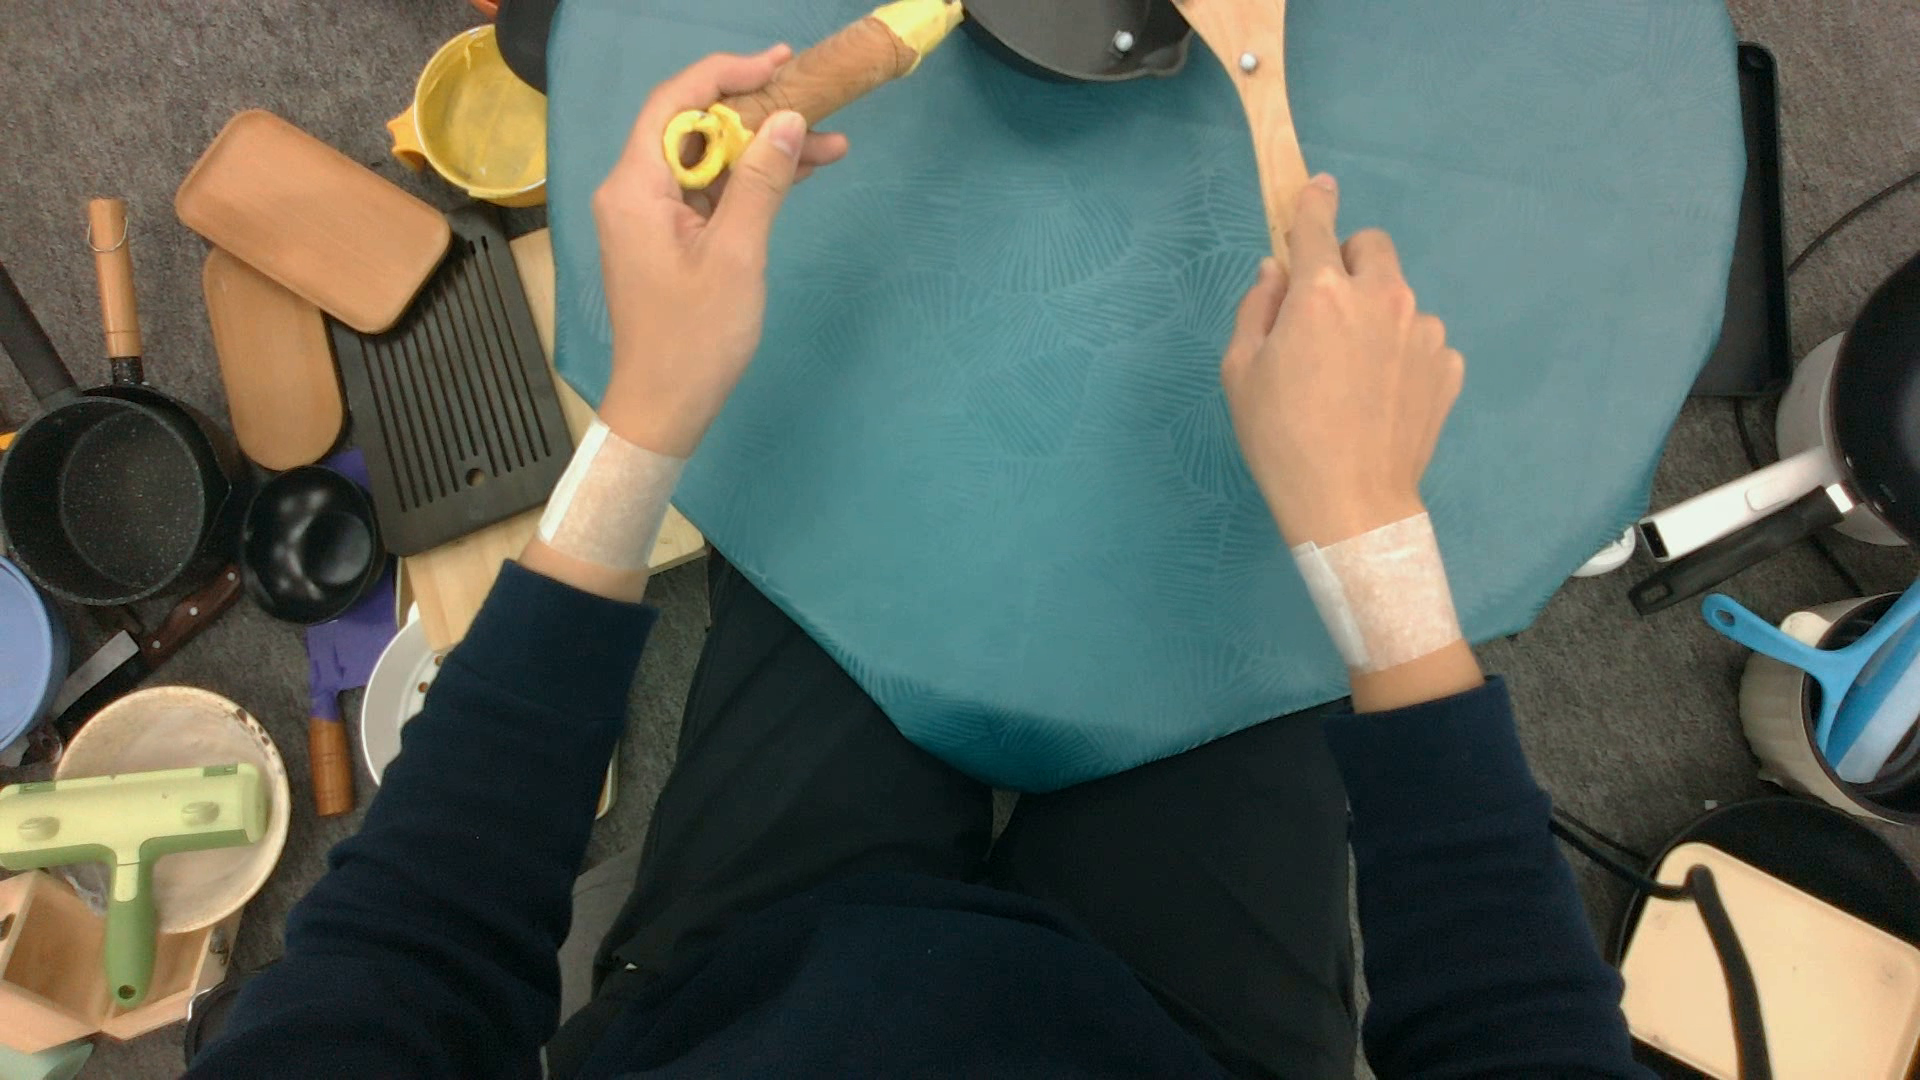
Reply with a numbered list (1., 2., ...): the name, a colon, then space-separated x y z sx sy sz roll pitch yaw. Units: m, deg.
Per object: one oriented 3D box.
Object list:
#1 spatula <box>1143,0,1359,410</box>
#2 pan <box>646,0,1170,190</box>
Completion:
1. spatula: 0.121 -0.206 0.622 0.079 0.016 0.328 -21 68 25
2. pan: -0.023 -0.237 0.609 0.325 0.049 0.169 -43 98 -29
